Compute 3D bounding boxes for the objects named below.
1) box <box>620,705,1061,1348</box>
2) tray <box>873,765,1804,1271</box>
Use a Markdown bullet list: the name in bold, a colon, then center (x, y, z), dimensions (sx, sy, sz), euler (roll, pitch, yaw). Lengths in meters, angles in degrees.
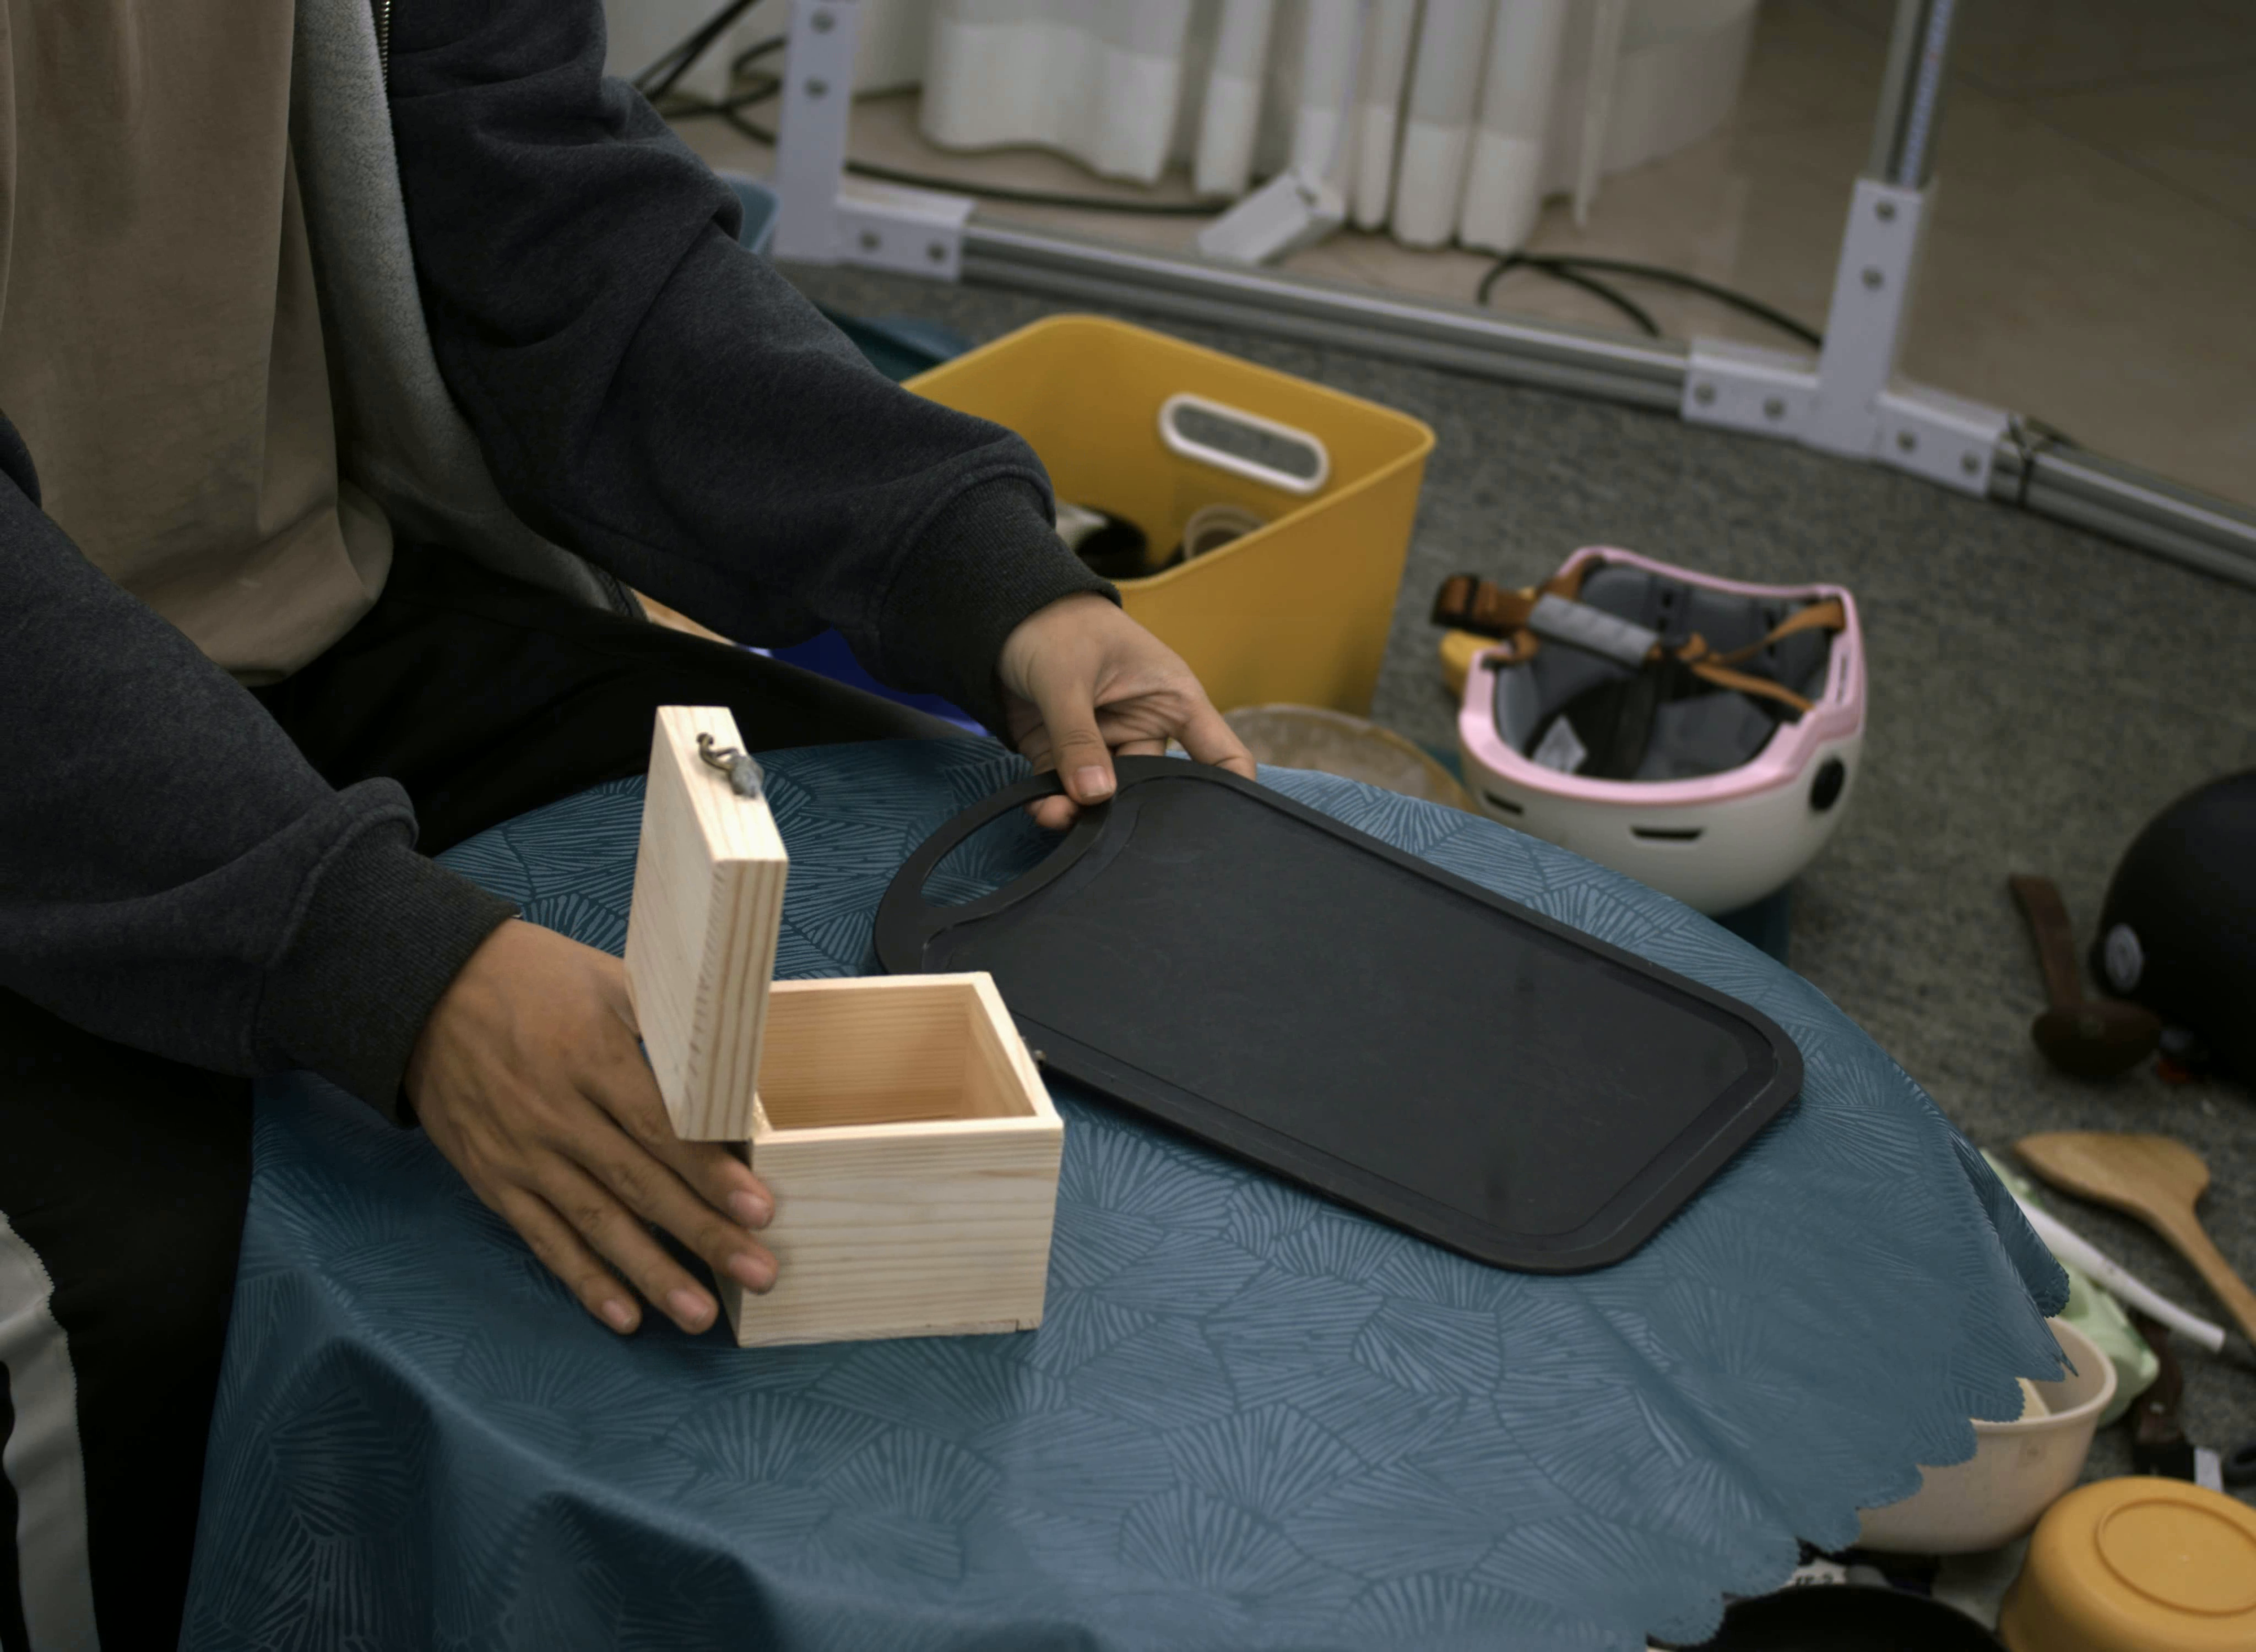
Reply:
- **box**: center (-0.090, 0.061, 1.702), dimensions (0.133, 0.184, 0.103), euler (-3, 28, -15)
- **tray**: center (0.069, 0.060, 1.909), dimensions (0.327, 0.010, 0.210), euler (24, 34, 24)
